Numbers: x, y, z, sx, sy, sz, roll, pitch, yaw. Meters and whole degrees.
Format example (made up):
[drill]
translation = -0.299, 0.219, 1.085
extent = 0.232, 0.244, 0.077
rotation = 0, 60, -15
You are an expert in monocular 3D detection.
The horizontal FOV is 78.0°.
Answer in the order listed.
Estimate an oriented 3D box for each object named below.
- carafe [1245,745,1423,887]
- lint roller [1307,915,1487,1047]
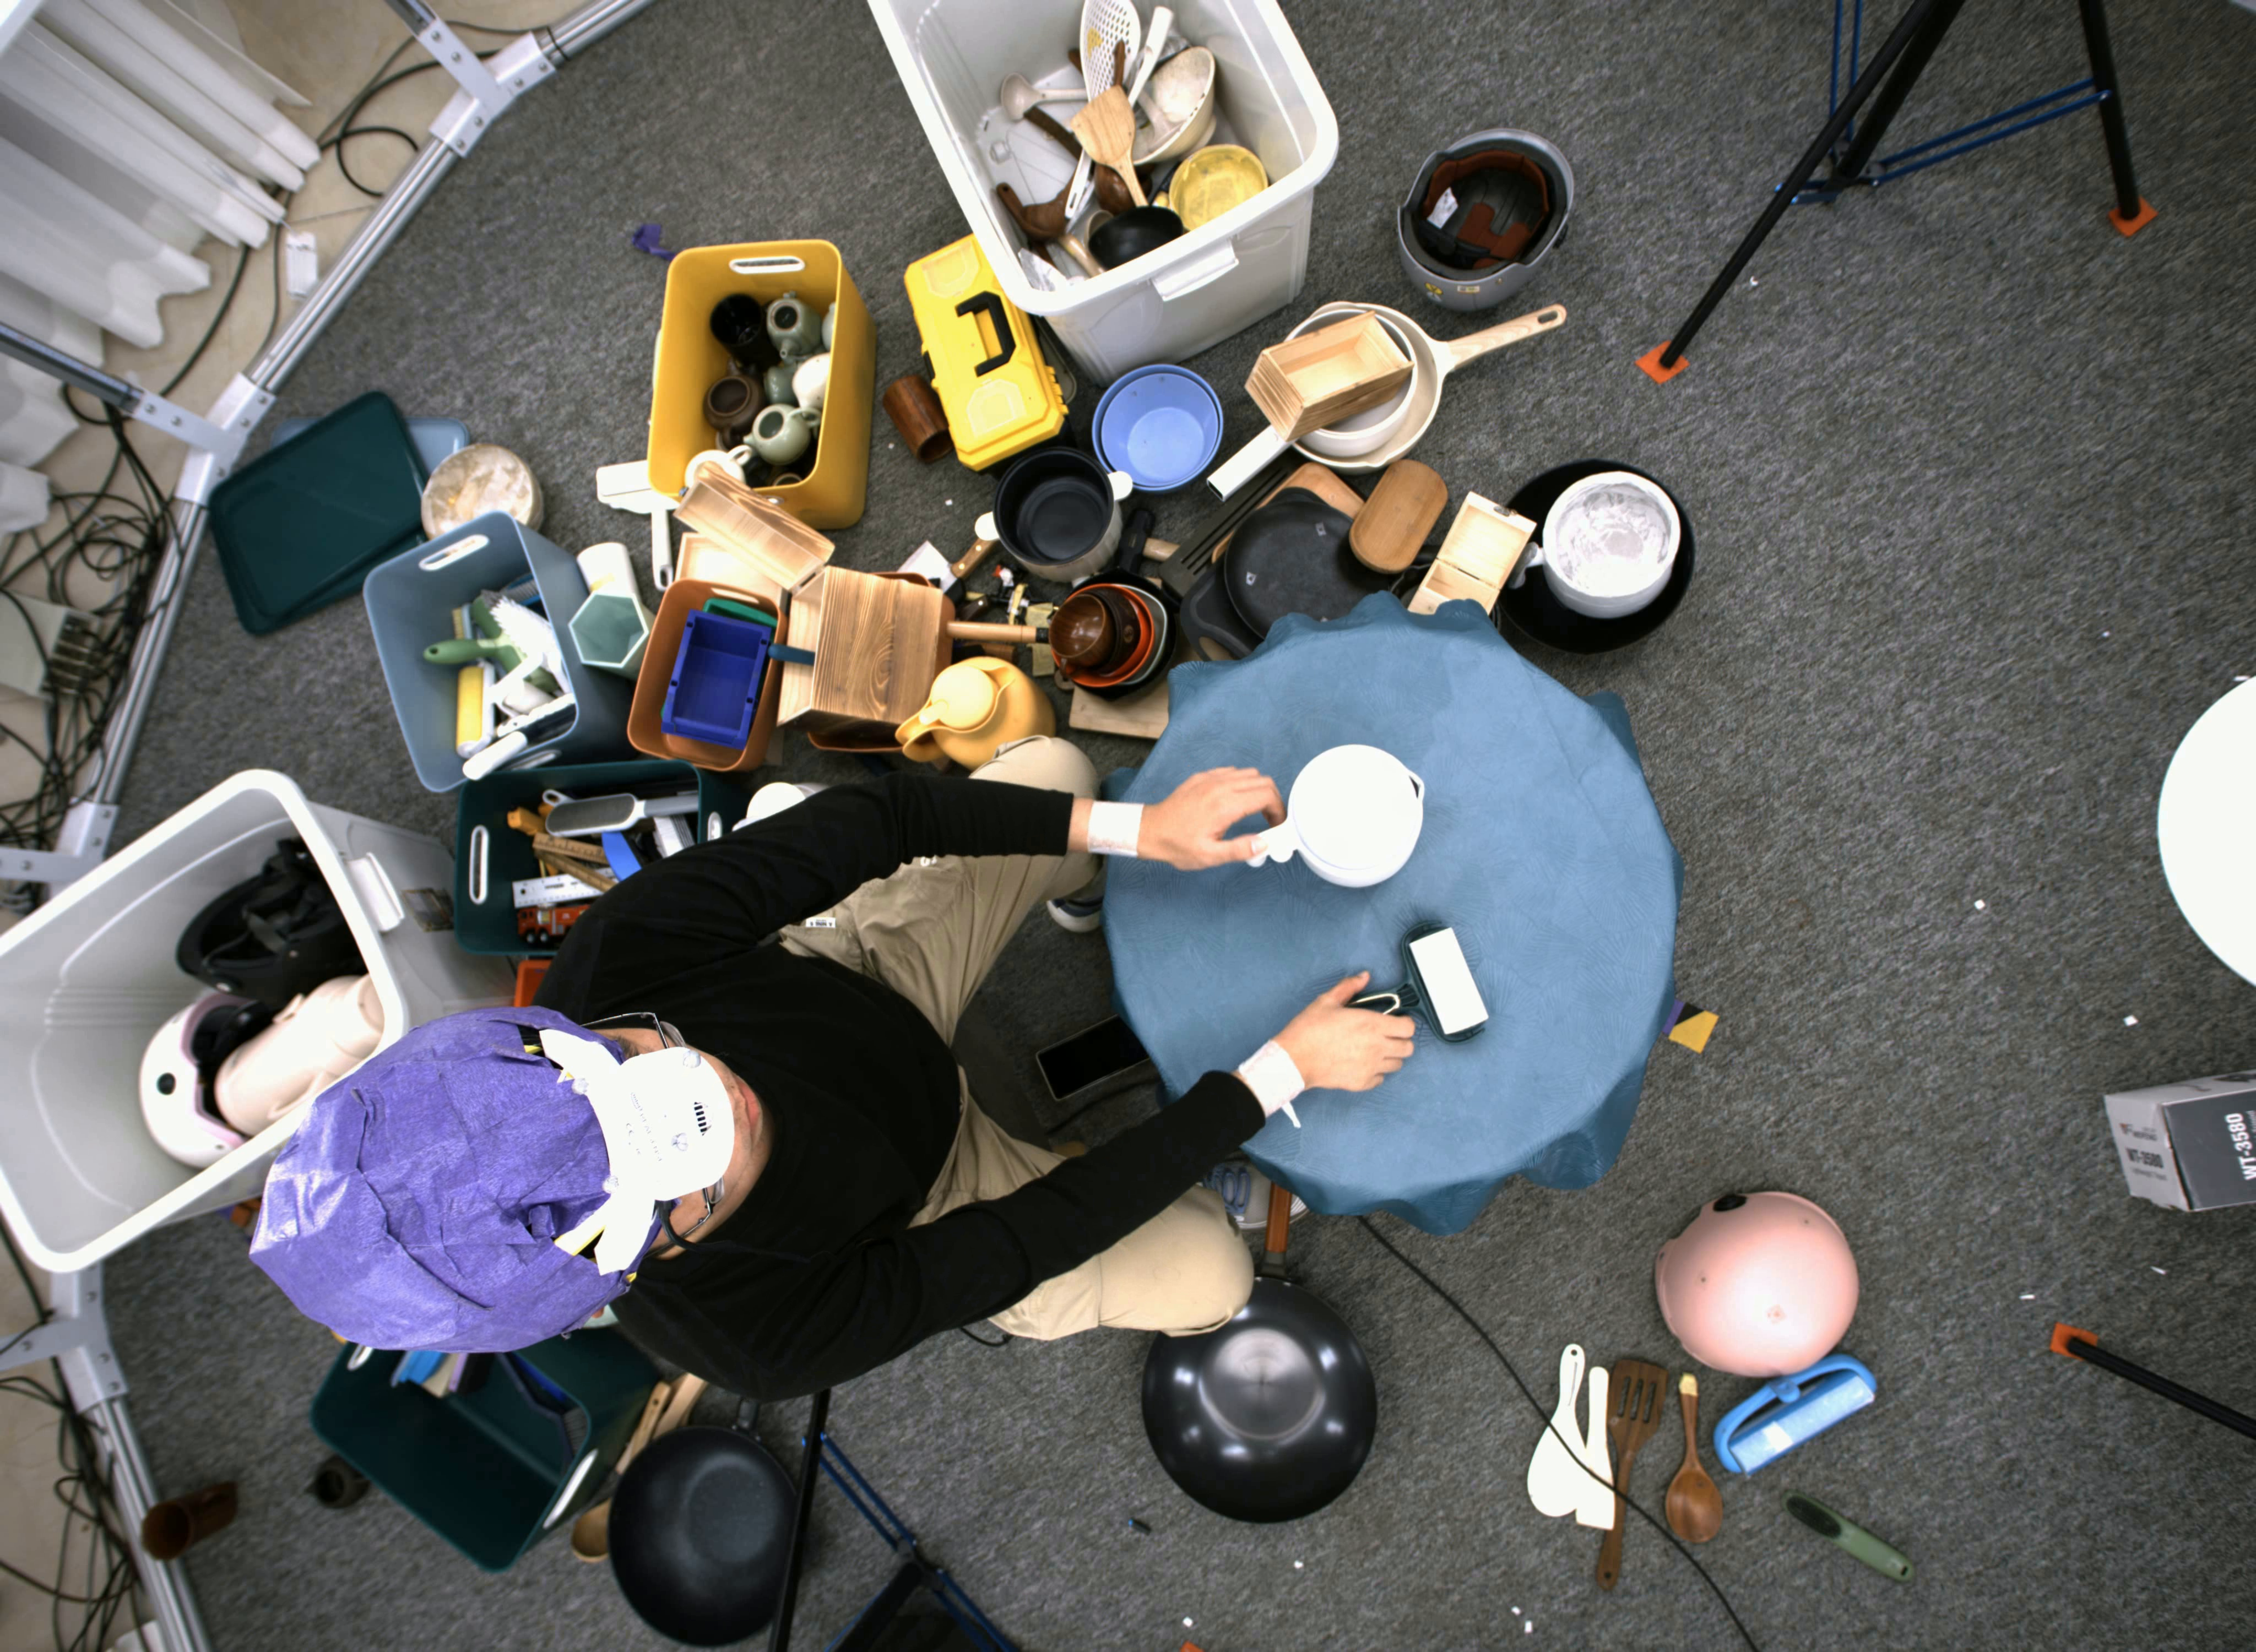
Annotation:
[carafe]
translation = 0.206, 0.000, 1.389
extent = 0.192, 0.182, 0.131
rotation = -22, 81, 10
[lint roller]
translation = 0.268, 0.184, 1.433
extent = 0.181, 0.048, 0.133
rotation = -23, 83, 11
